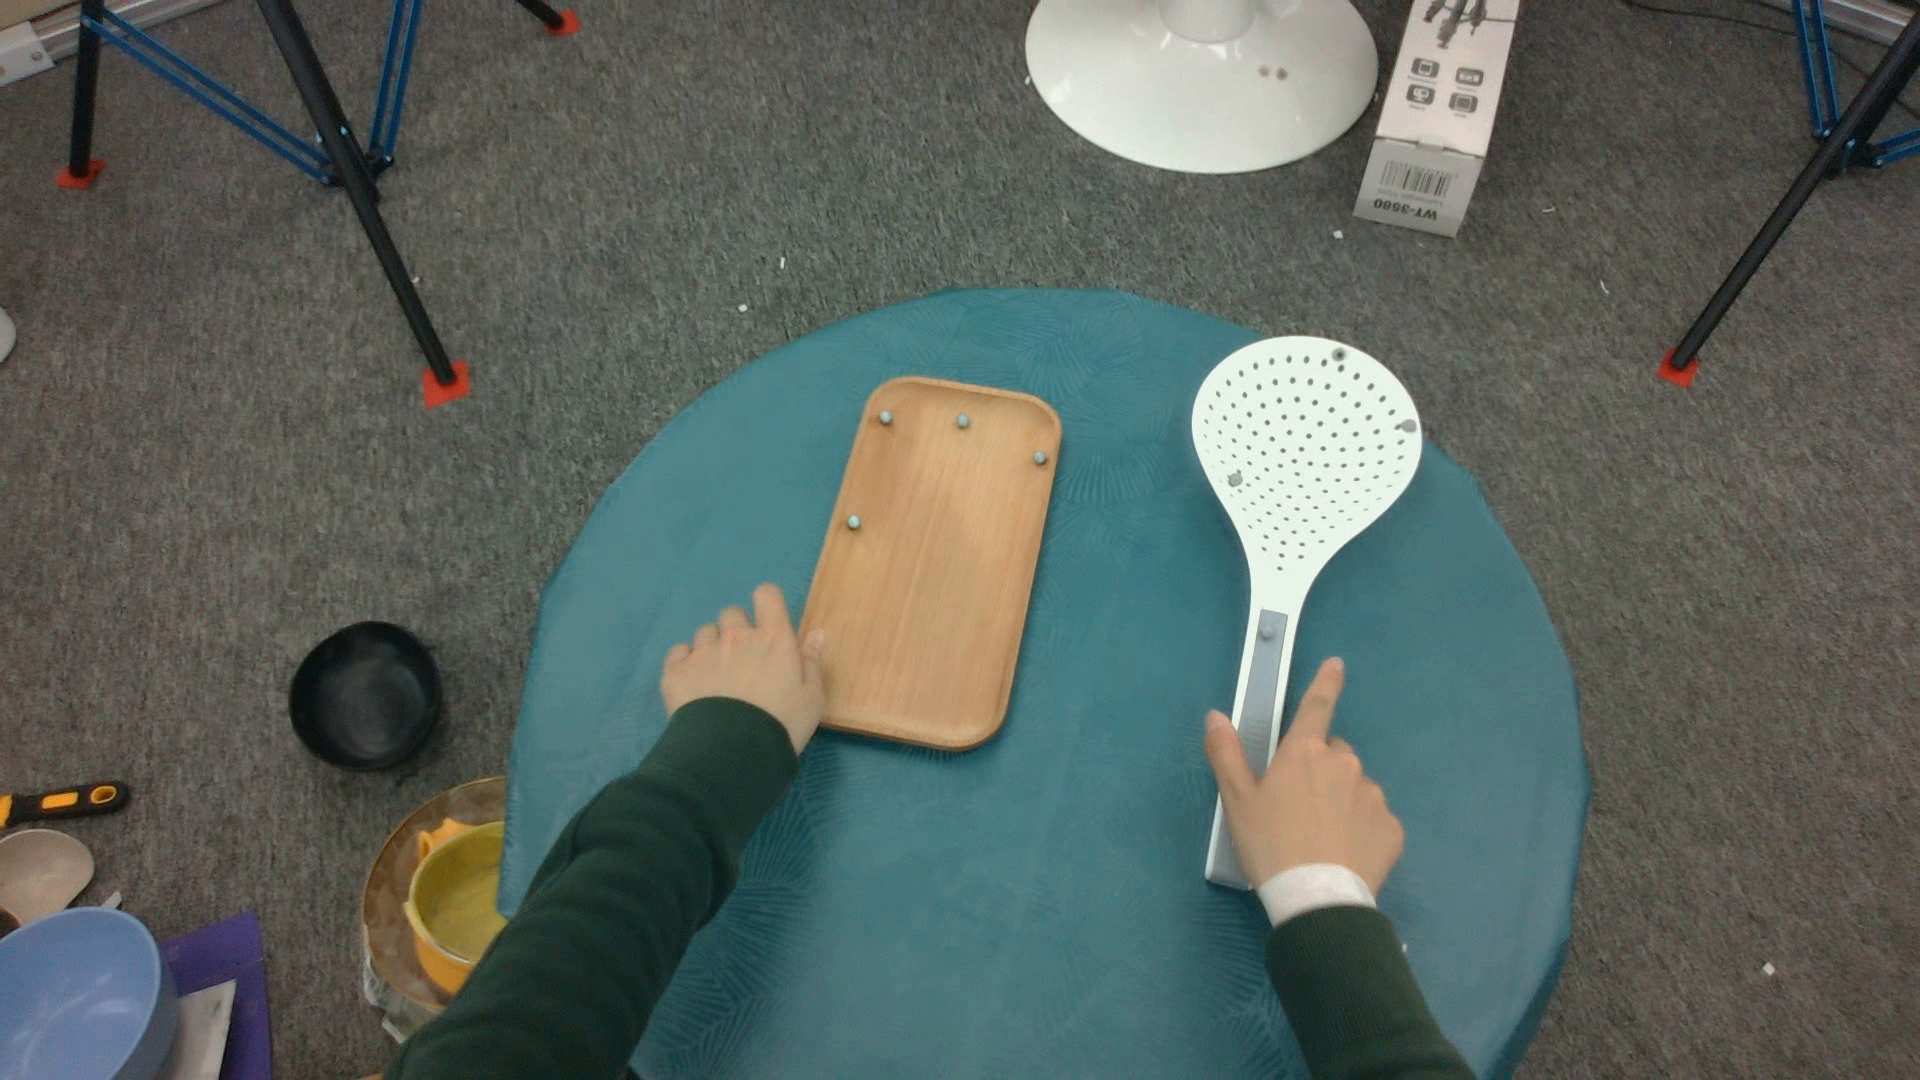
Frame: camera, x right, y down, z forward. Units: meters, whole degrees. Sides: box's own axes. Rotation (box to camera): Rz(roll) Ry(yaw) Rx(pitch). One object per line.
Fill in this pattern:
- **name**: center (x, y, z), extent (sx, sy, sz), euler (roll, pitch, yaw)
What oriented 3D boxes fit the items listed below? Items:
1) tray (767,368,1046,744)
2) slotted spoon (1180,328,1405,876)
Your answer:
- **tray**: center (-0.027, 0.002, 0.822), extent (0.130, 0.023, 0.252), euler (9, 58, 7)
- **slotted spoon**: center (0.175, 0.023, 0.797), extent (0.136, 0.045, 0.351), euler (12, 58, 9)
